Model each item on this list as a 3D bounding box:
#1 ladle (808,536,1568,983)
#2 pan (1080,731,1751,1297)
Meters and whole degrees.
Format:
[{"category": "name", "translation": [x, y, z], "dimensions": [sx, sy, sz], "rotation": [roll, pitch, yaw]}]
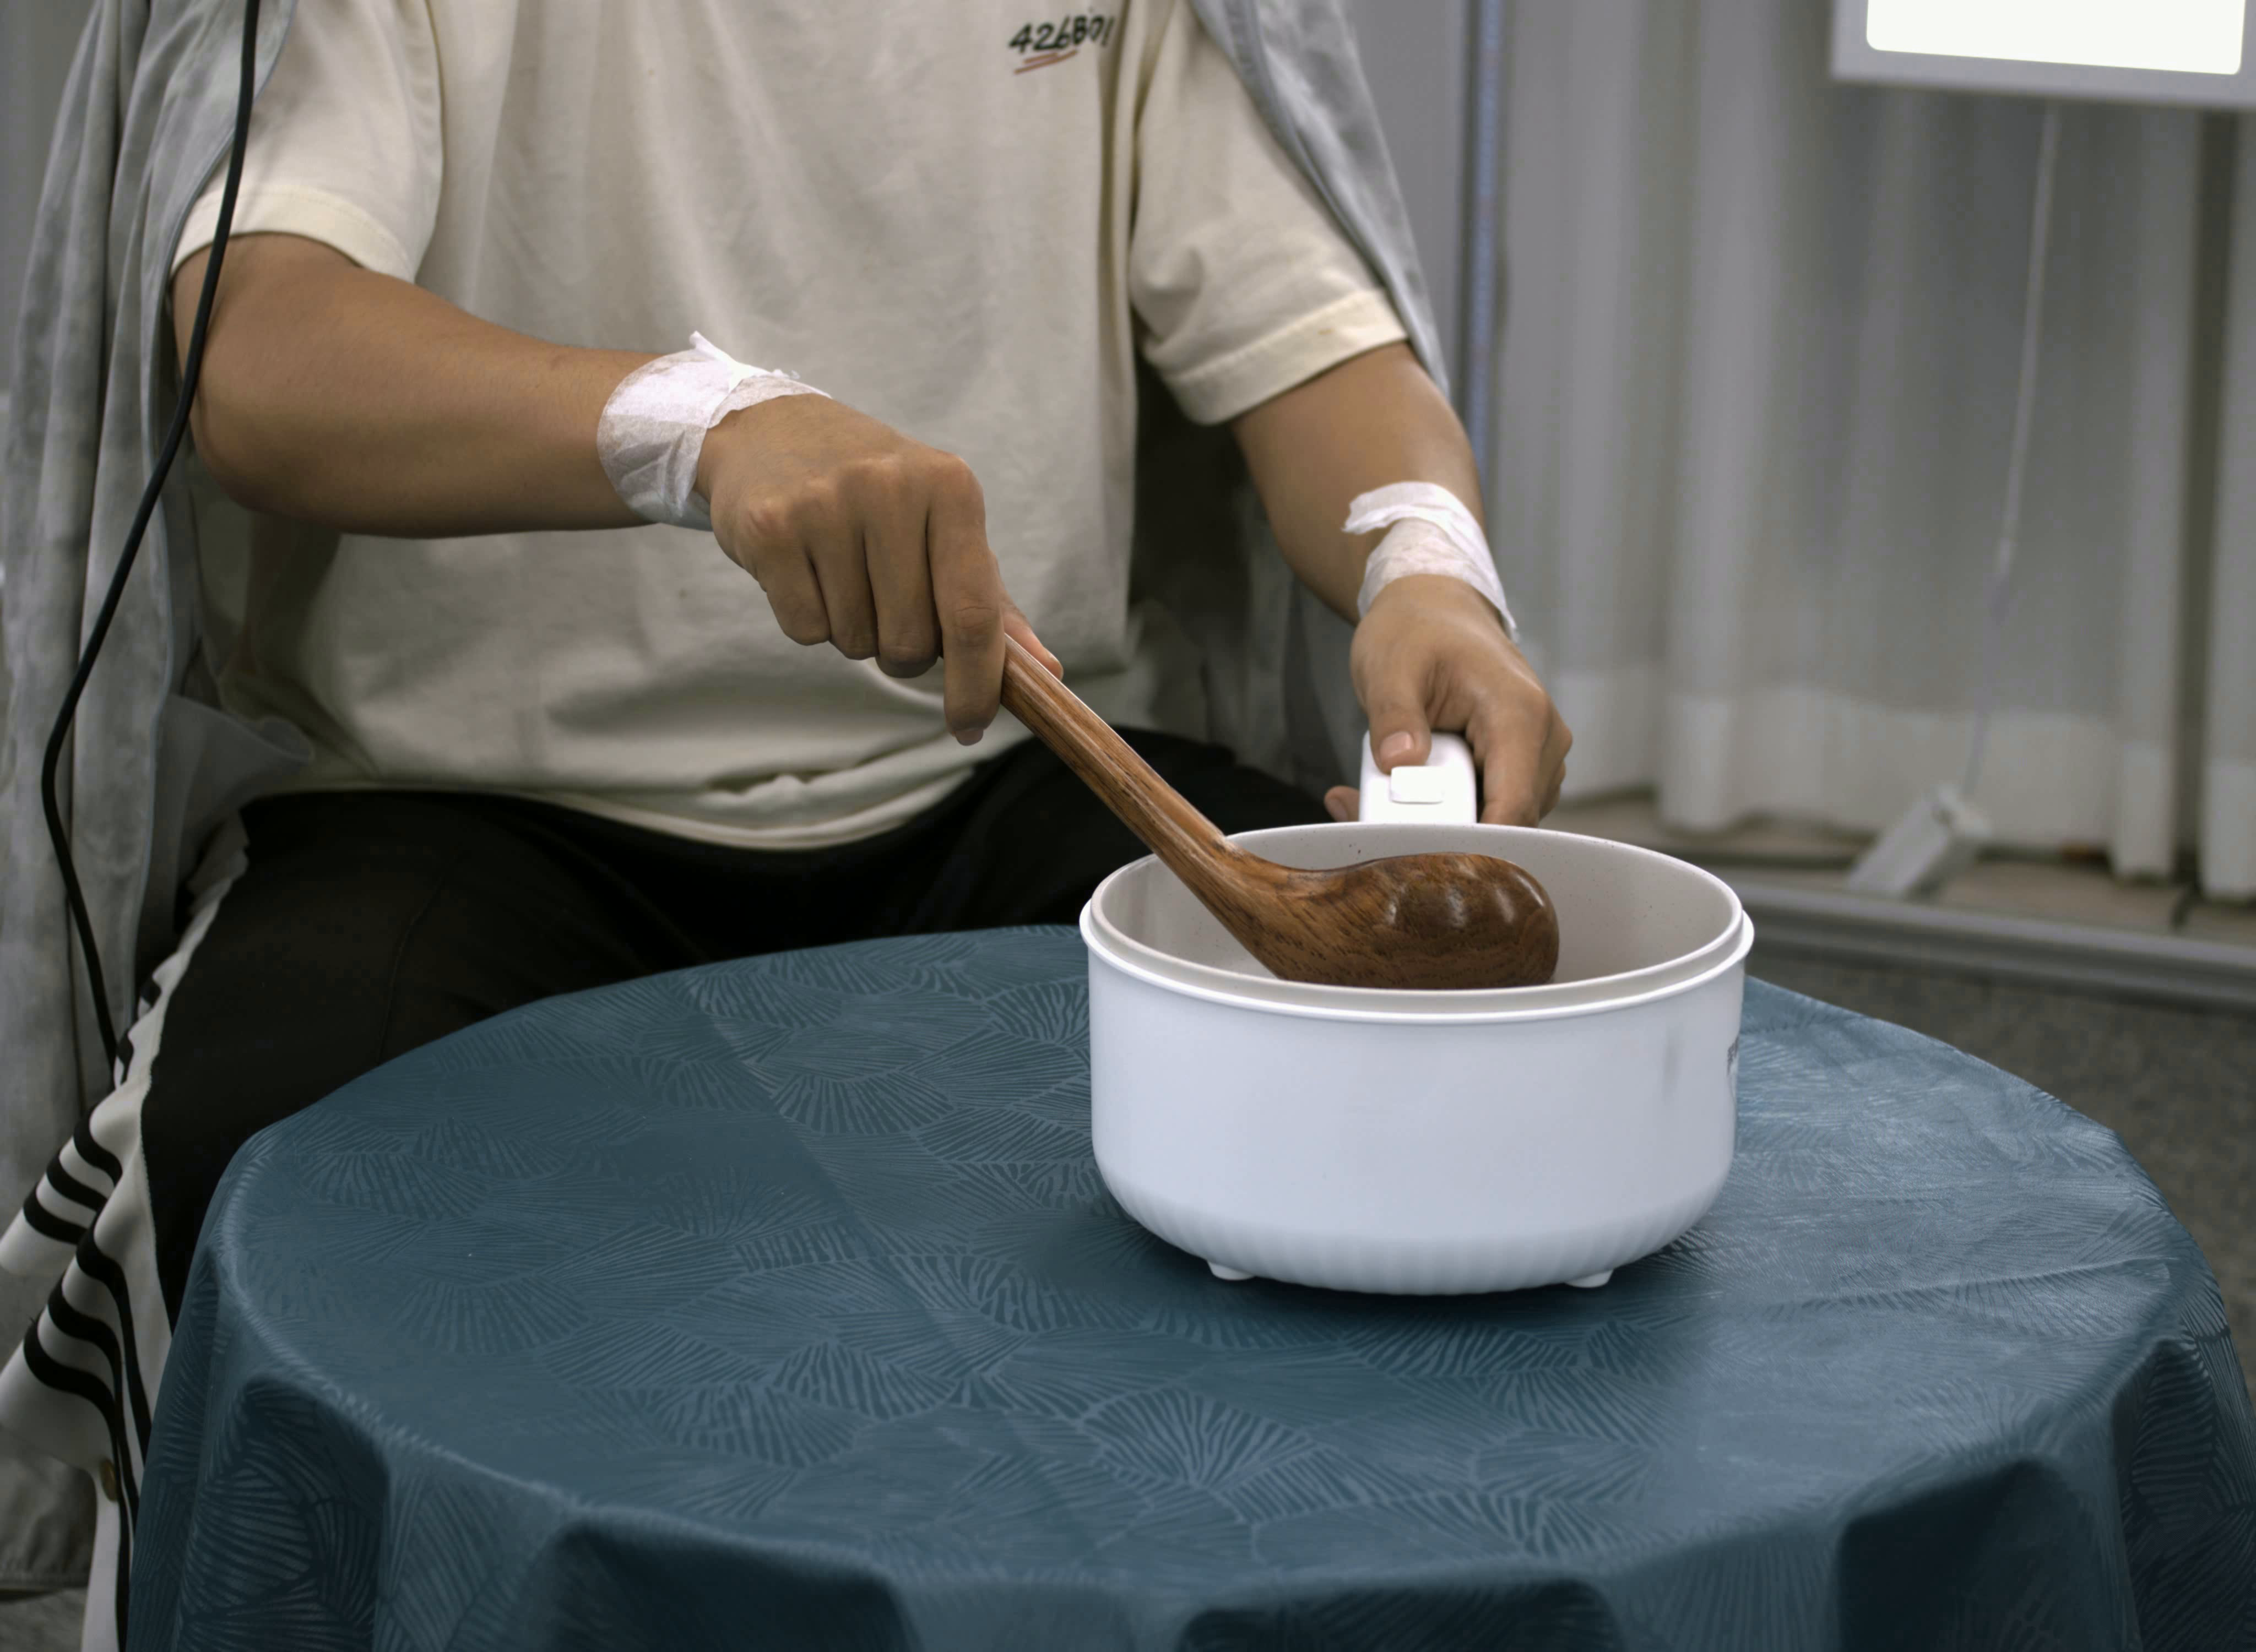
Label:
[{"category": "ladle", "translation": [0.019, -0.022, 1.632], "dimensions": [0.271, 0.082, 0.077], "rotation": [38, 40, 27]}, {"category": "pan", "translation": [0.090, 0.054, 1.660], "dimensions": [0.200, 0.103, 0.353], "rotation": [0, 14, 3]}]
